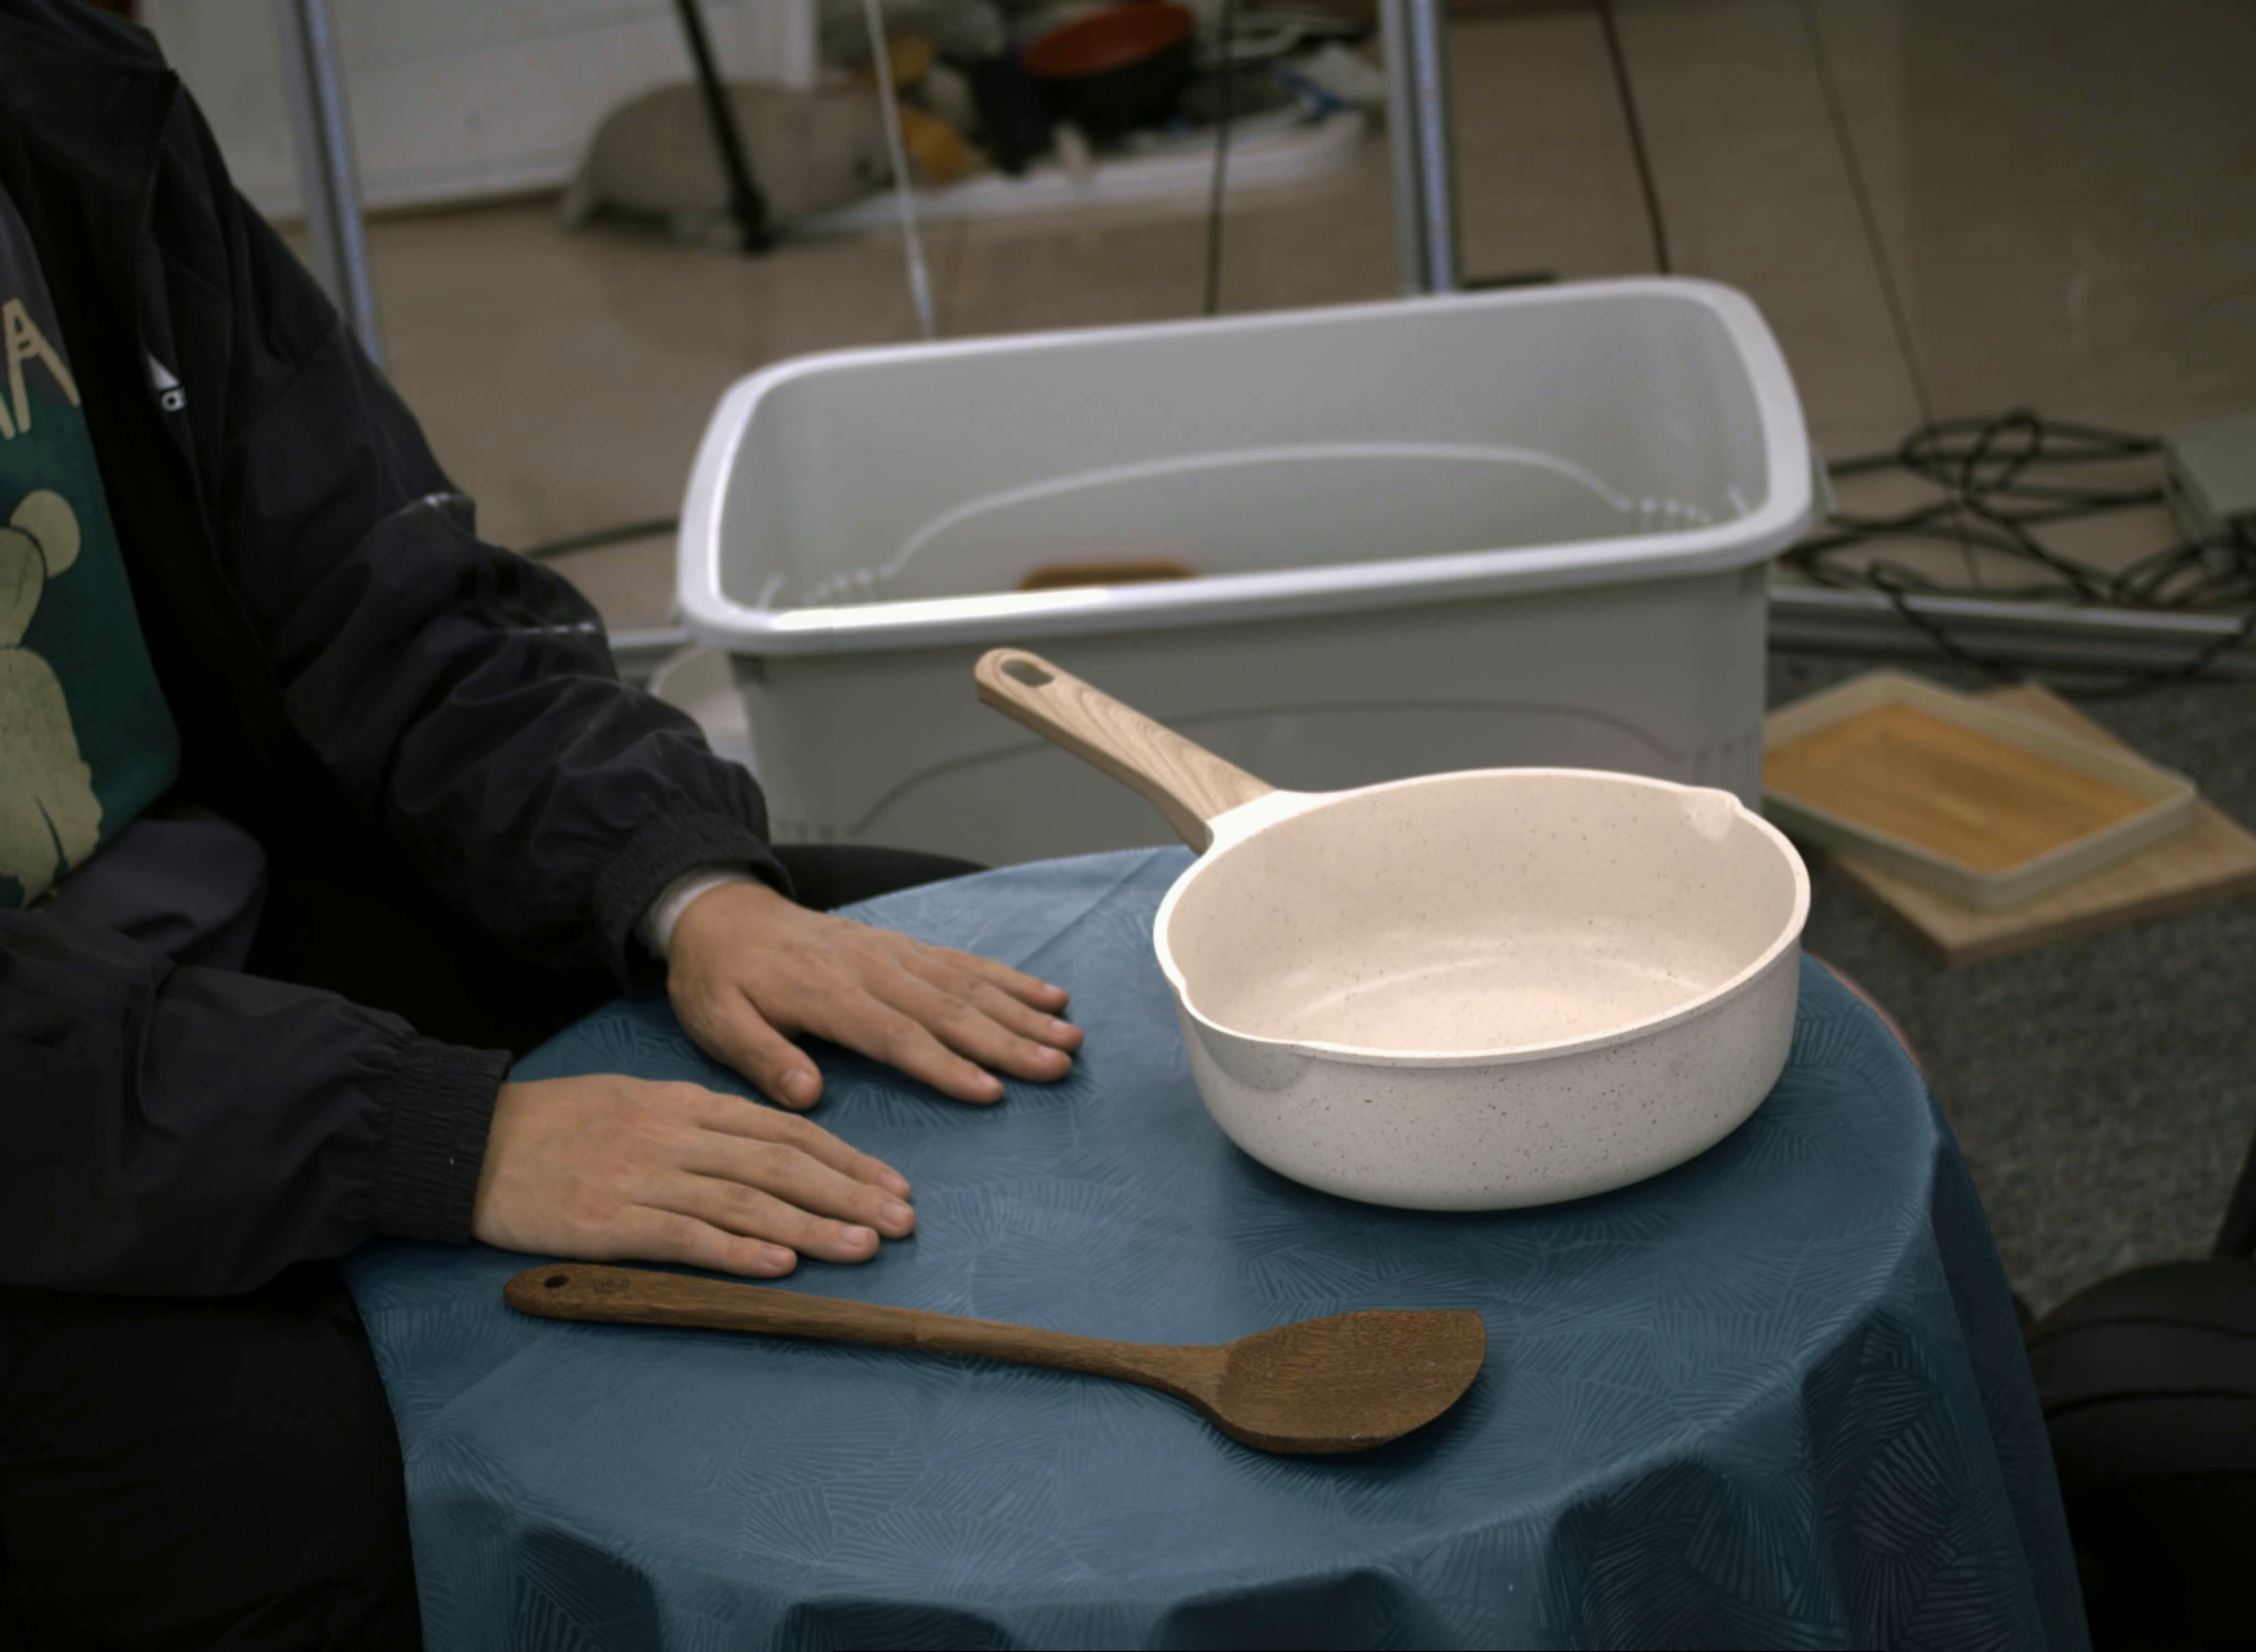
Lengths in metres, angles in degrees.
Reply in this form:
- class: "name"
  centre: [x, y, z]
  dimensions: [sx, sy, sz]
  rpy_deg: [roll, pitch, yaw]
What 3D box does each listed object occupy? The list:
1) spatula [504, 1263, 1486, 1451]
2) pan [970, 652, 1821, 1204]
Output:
- class: "spatula"
  centre: [-0.057, 0.184, 2.047]
  dimensions: [0.385, 0.016, 0.095]
  rpy_deg: [4, 26, 23]
- class: "pan"
  centre: [0.084, 0.031, 2.236]
  dimensions: [0.261, 0.103, 0.431]
  rpy_deg: [-25, 31, -31]
